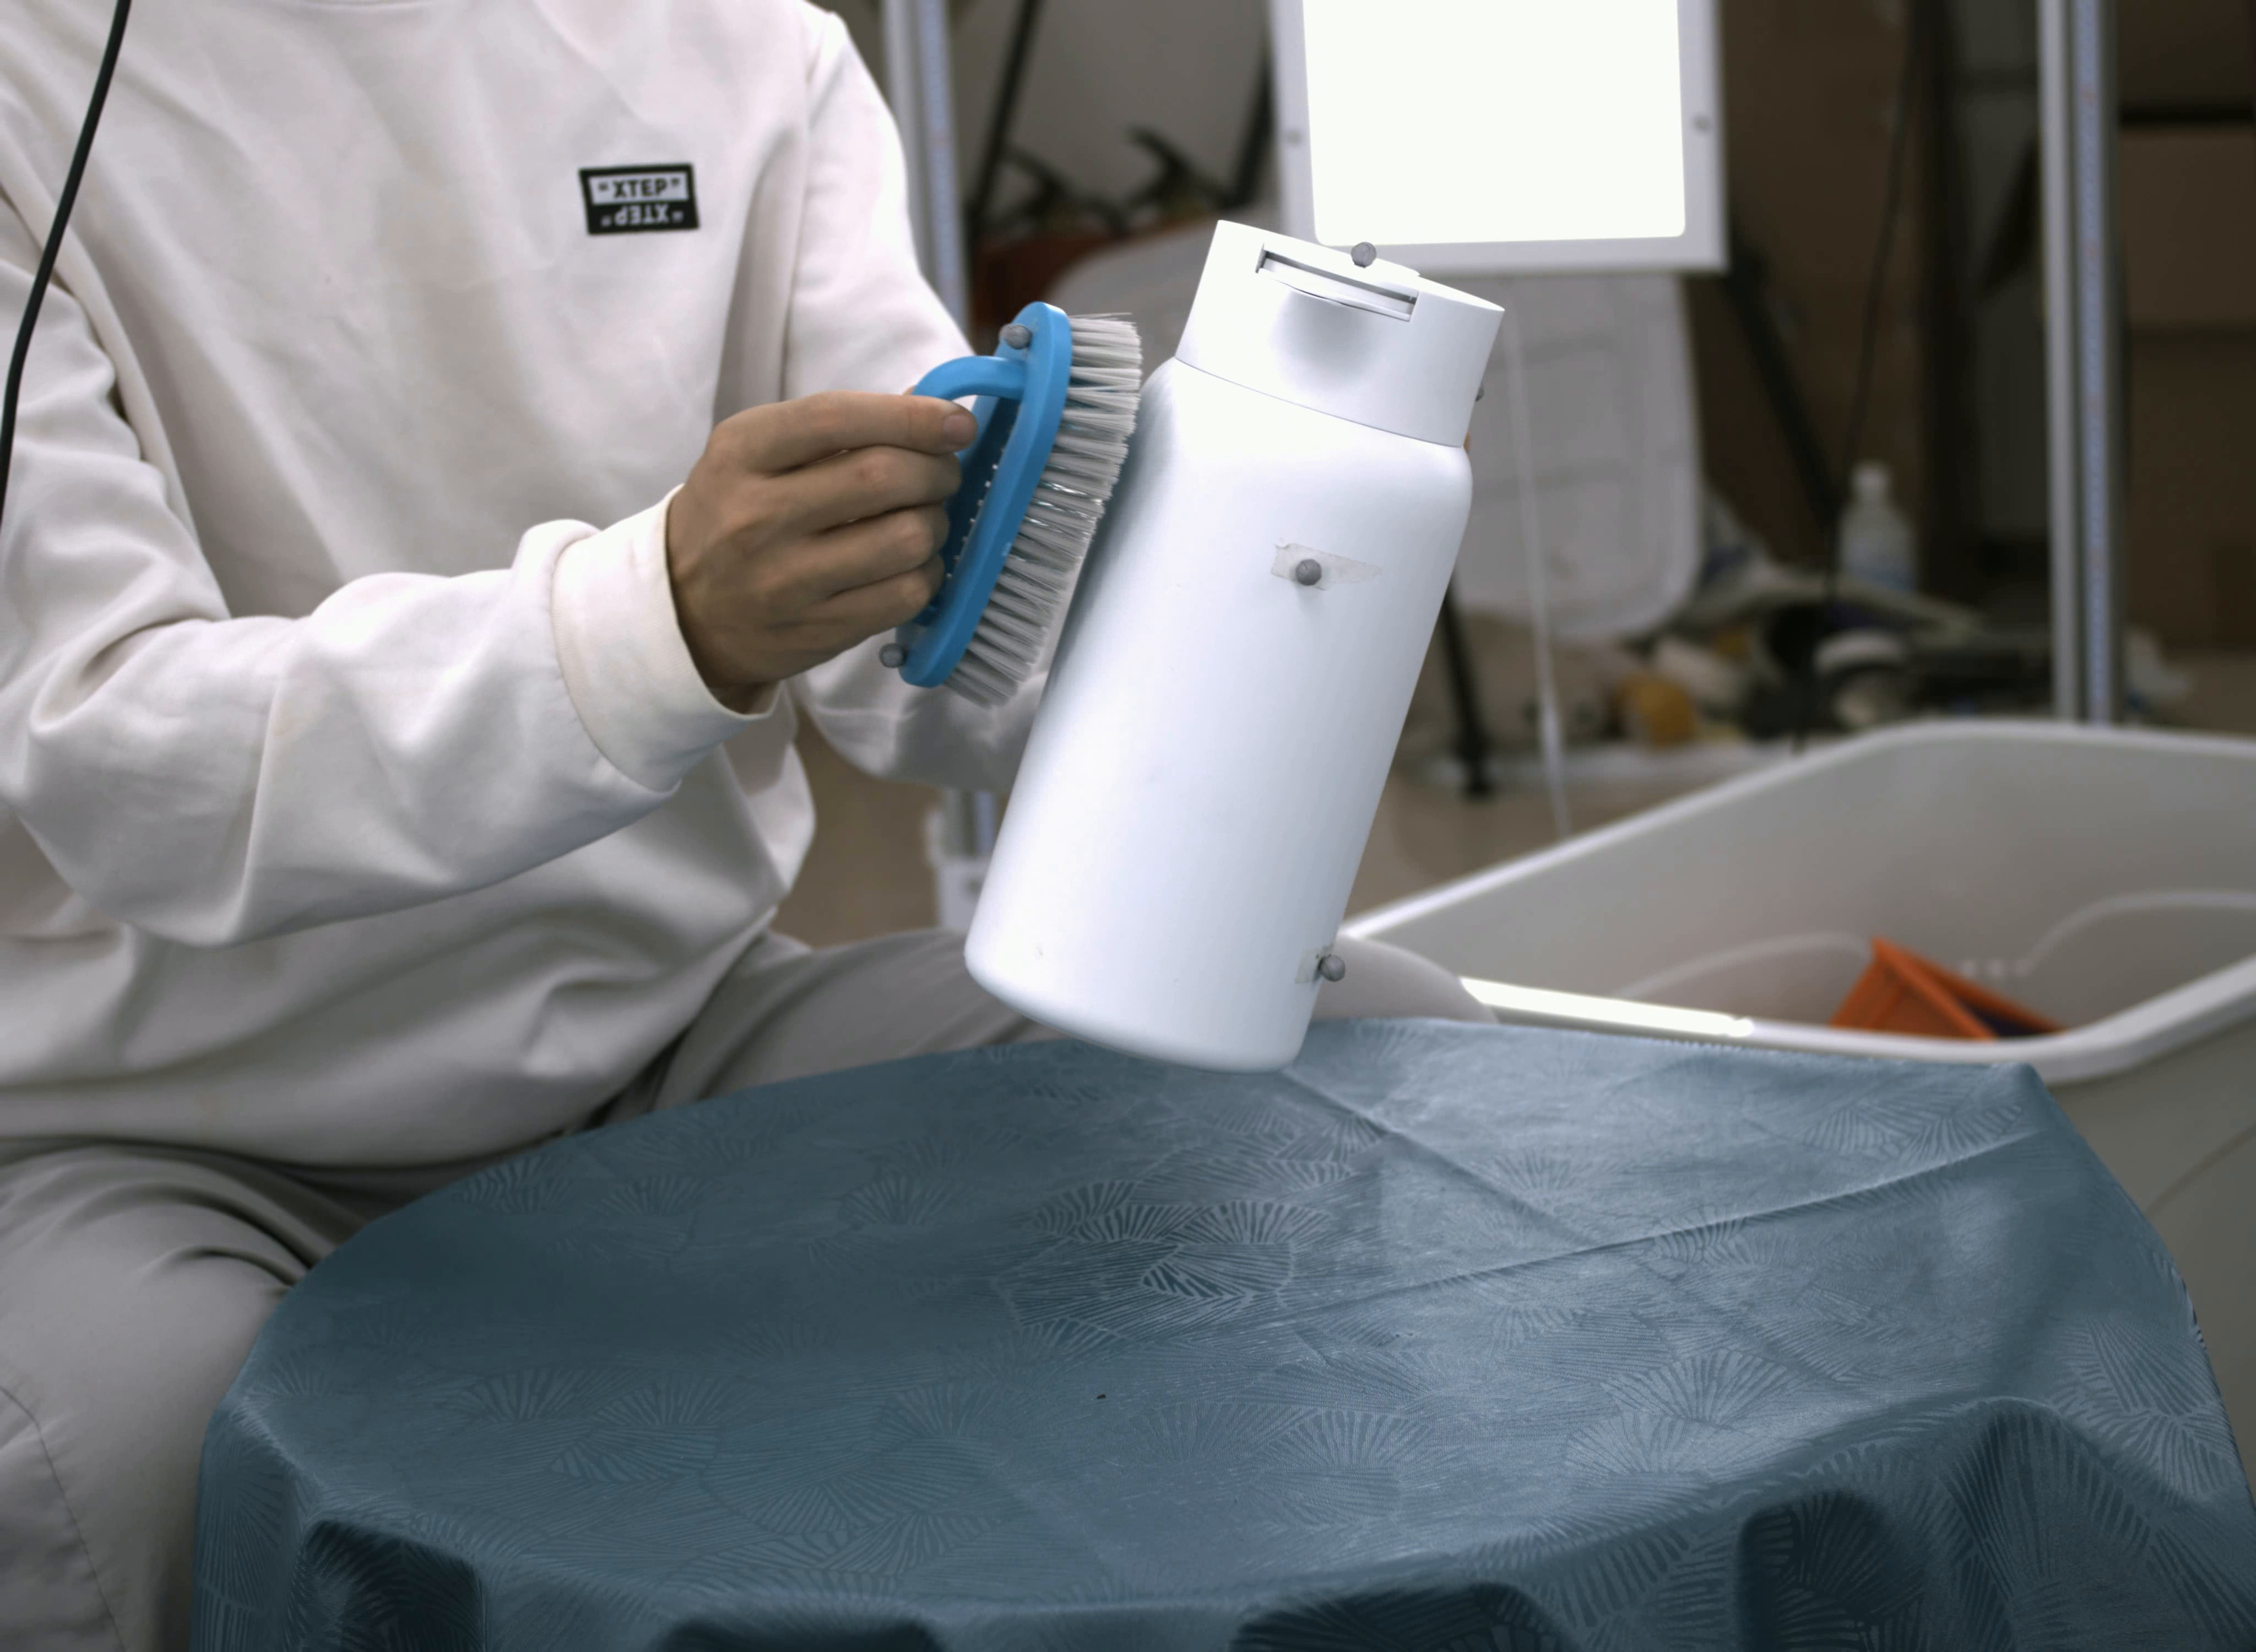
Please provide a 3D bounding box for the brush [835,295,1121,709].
[{"bbox_3d":[-0.055,-0.107,1.792,0.063,0.144,0.084,14,31,-18],"label":"brush"}]

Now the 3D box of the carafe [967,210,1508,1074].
[{"bbox_3d":[0.040,-0.062,1.825,0.124,0.270,0.171,16,9,10],"label":"carafe"}]
